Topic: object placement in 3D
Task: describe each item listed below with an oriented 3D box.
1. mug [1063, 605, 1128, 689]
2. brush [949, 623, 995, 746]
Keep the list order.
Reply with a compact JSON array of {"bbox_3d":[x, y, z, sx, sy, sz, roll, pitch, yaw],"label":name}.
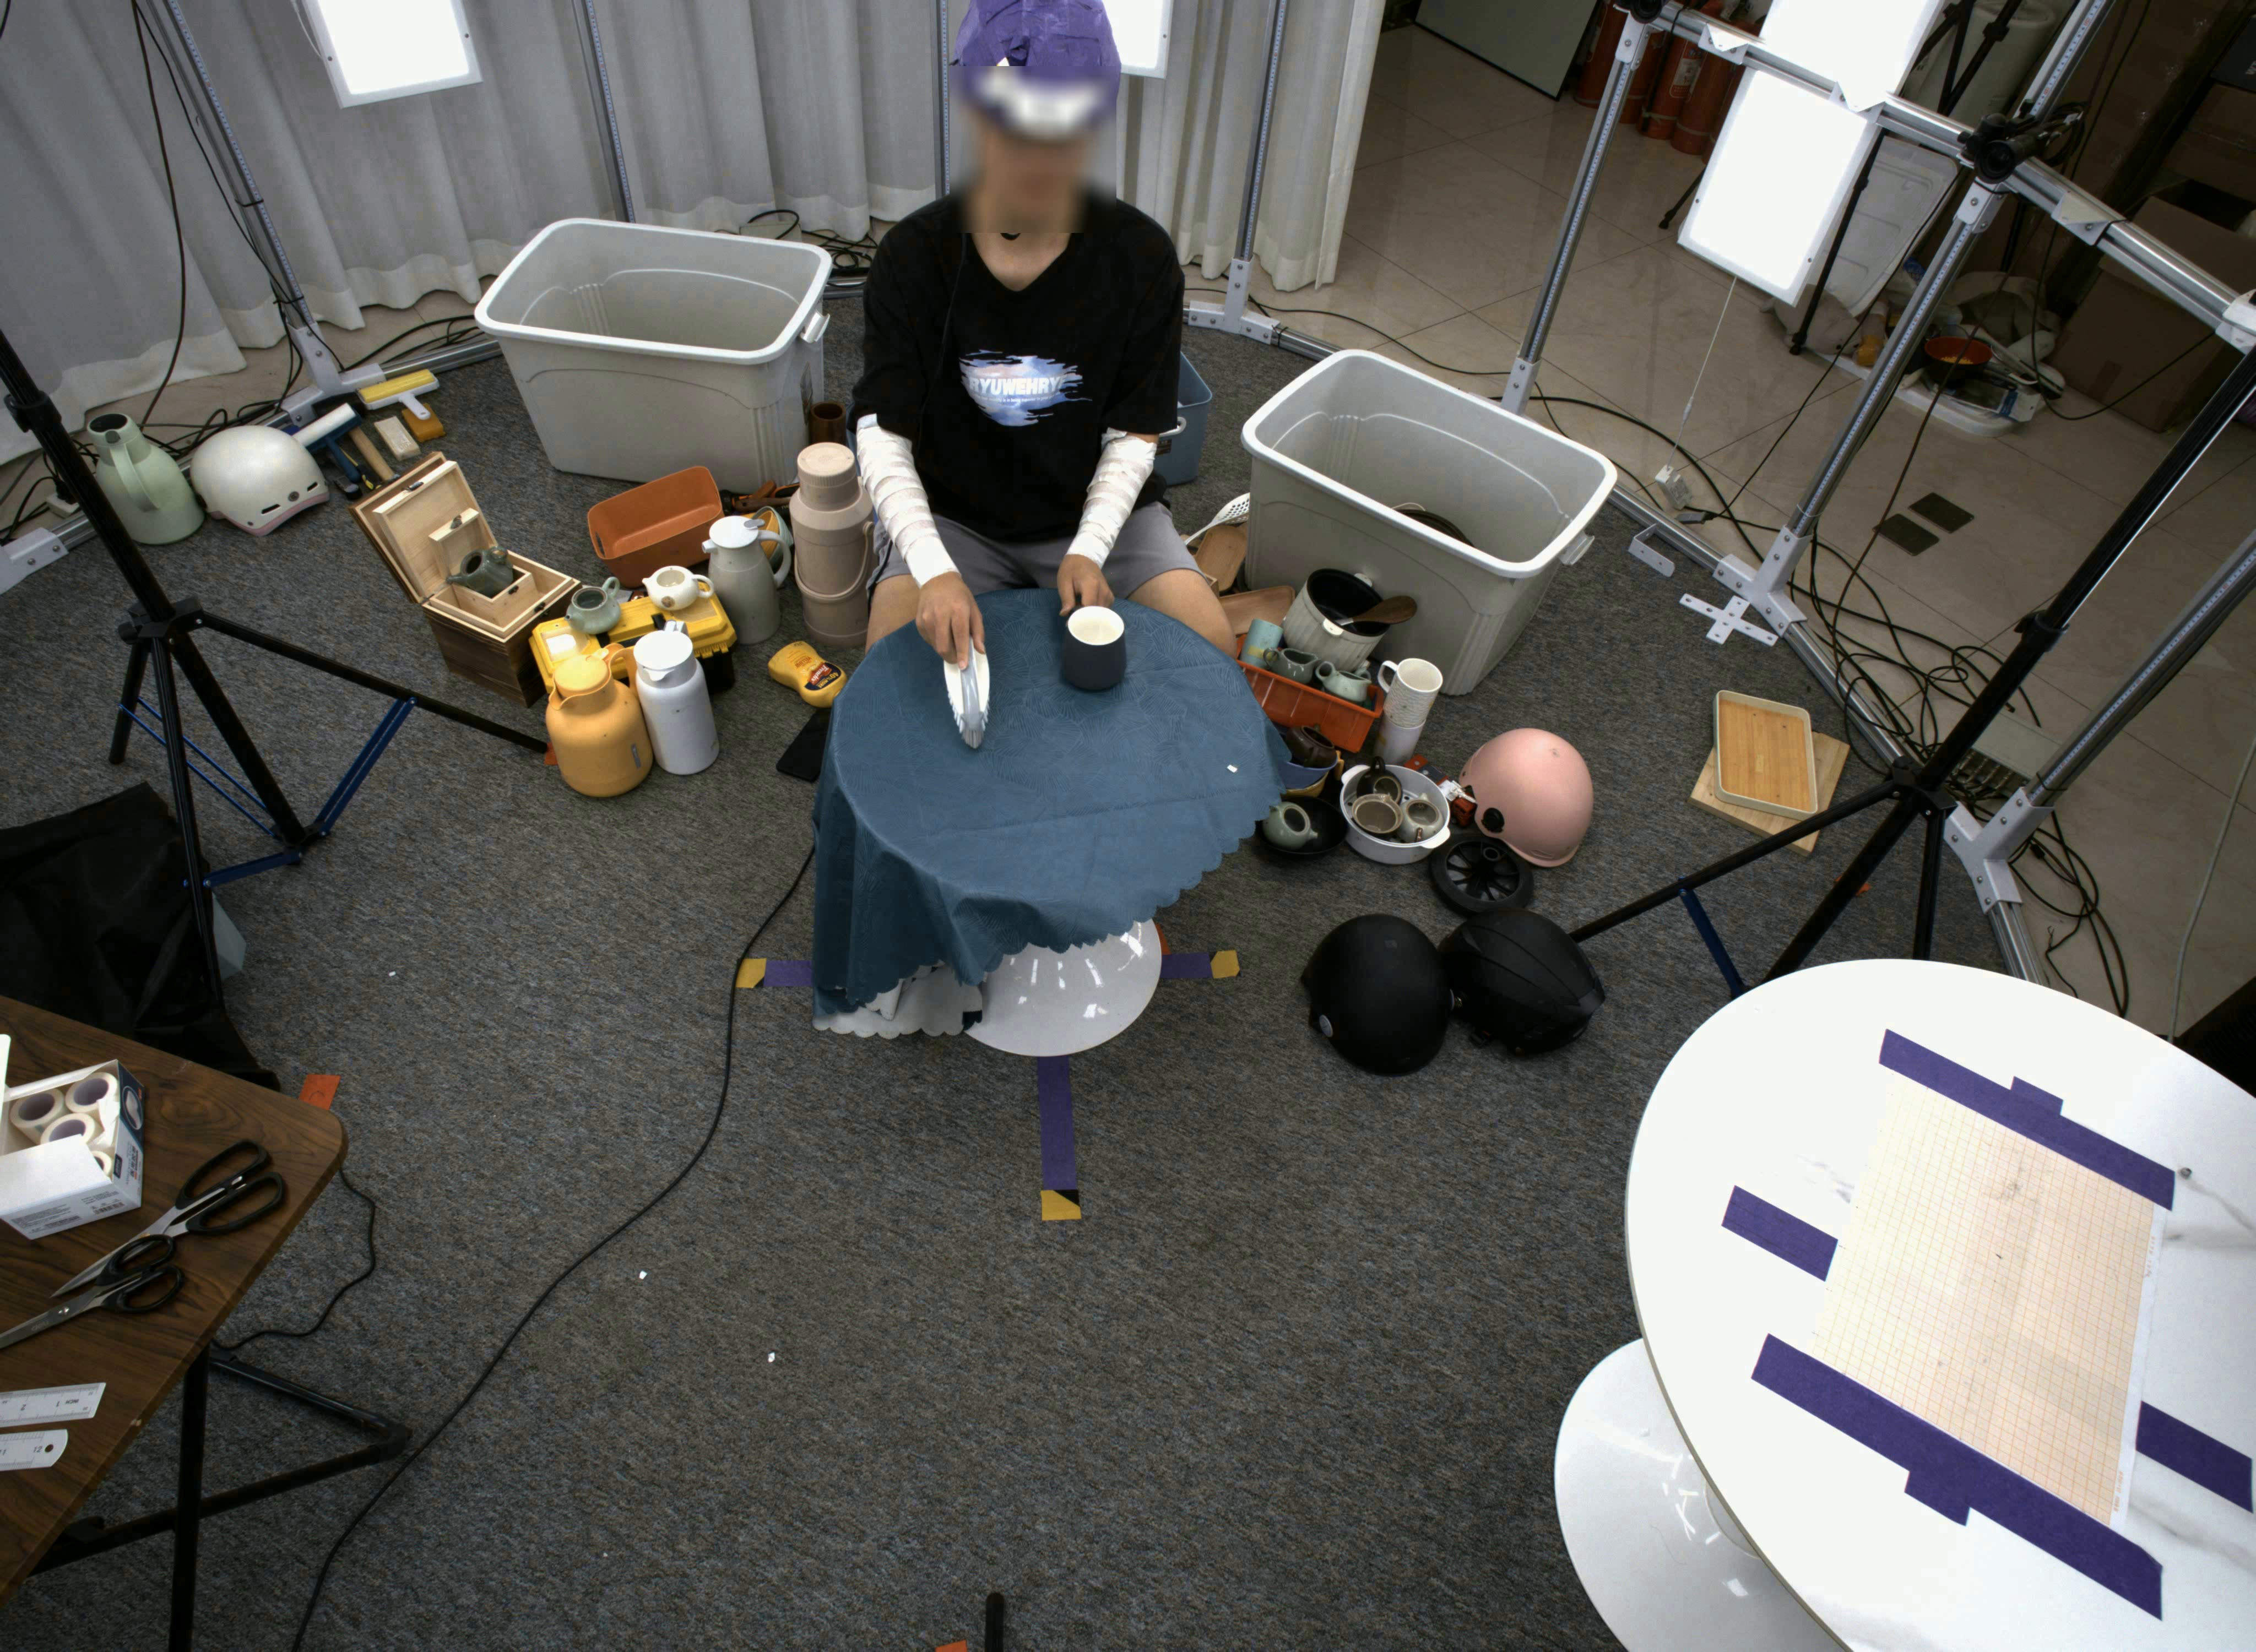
[{"bbox_3d":[-0.051,-0.265,1.840,0.093,0.088,0.126,-16,53,-16],"label":"mug"},{"bbox_3d":[-0.214,-0.203,1.763,0.061,0.092,0.180,-4,54,-4],"label":"brush"}]
